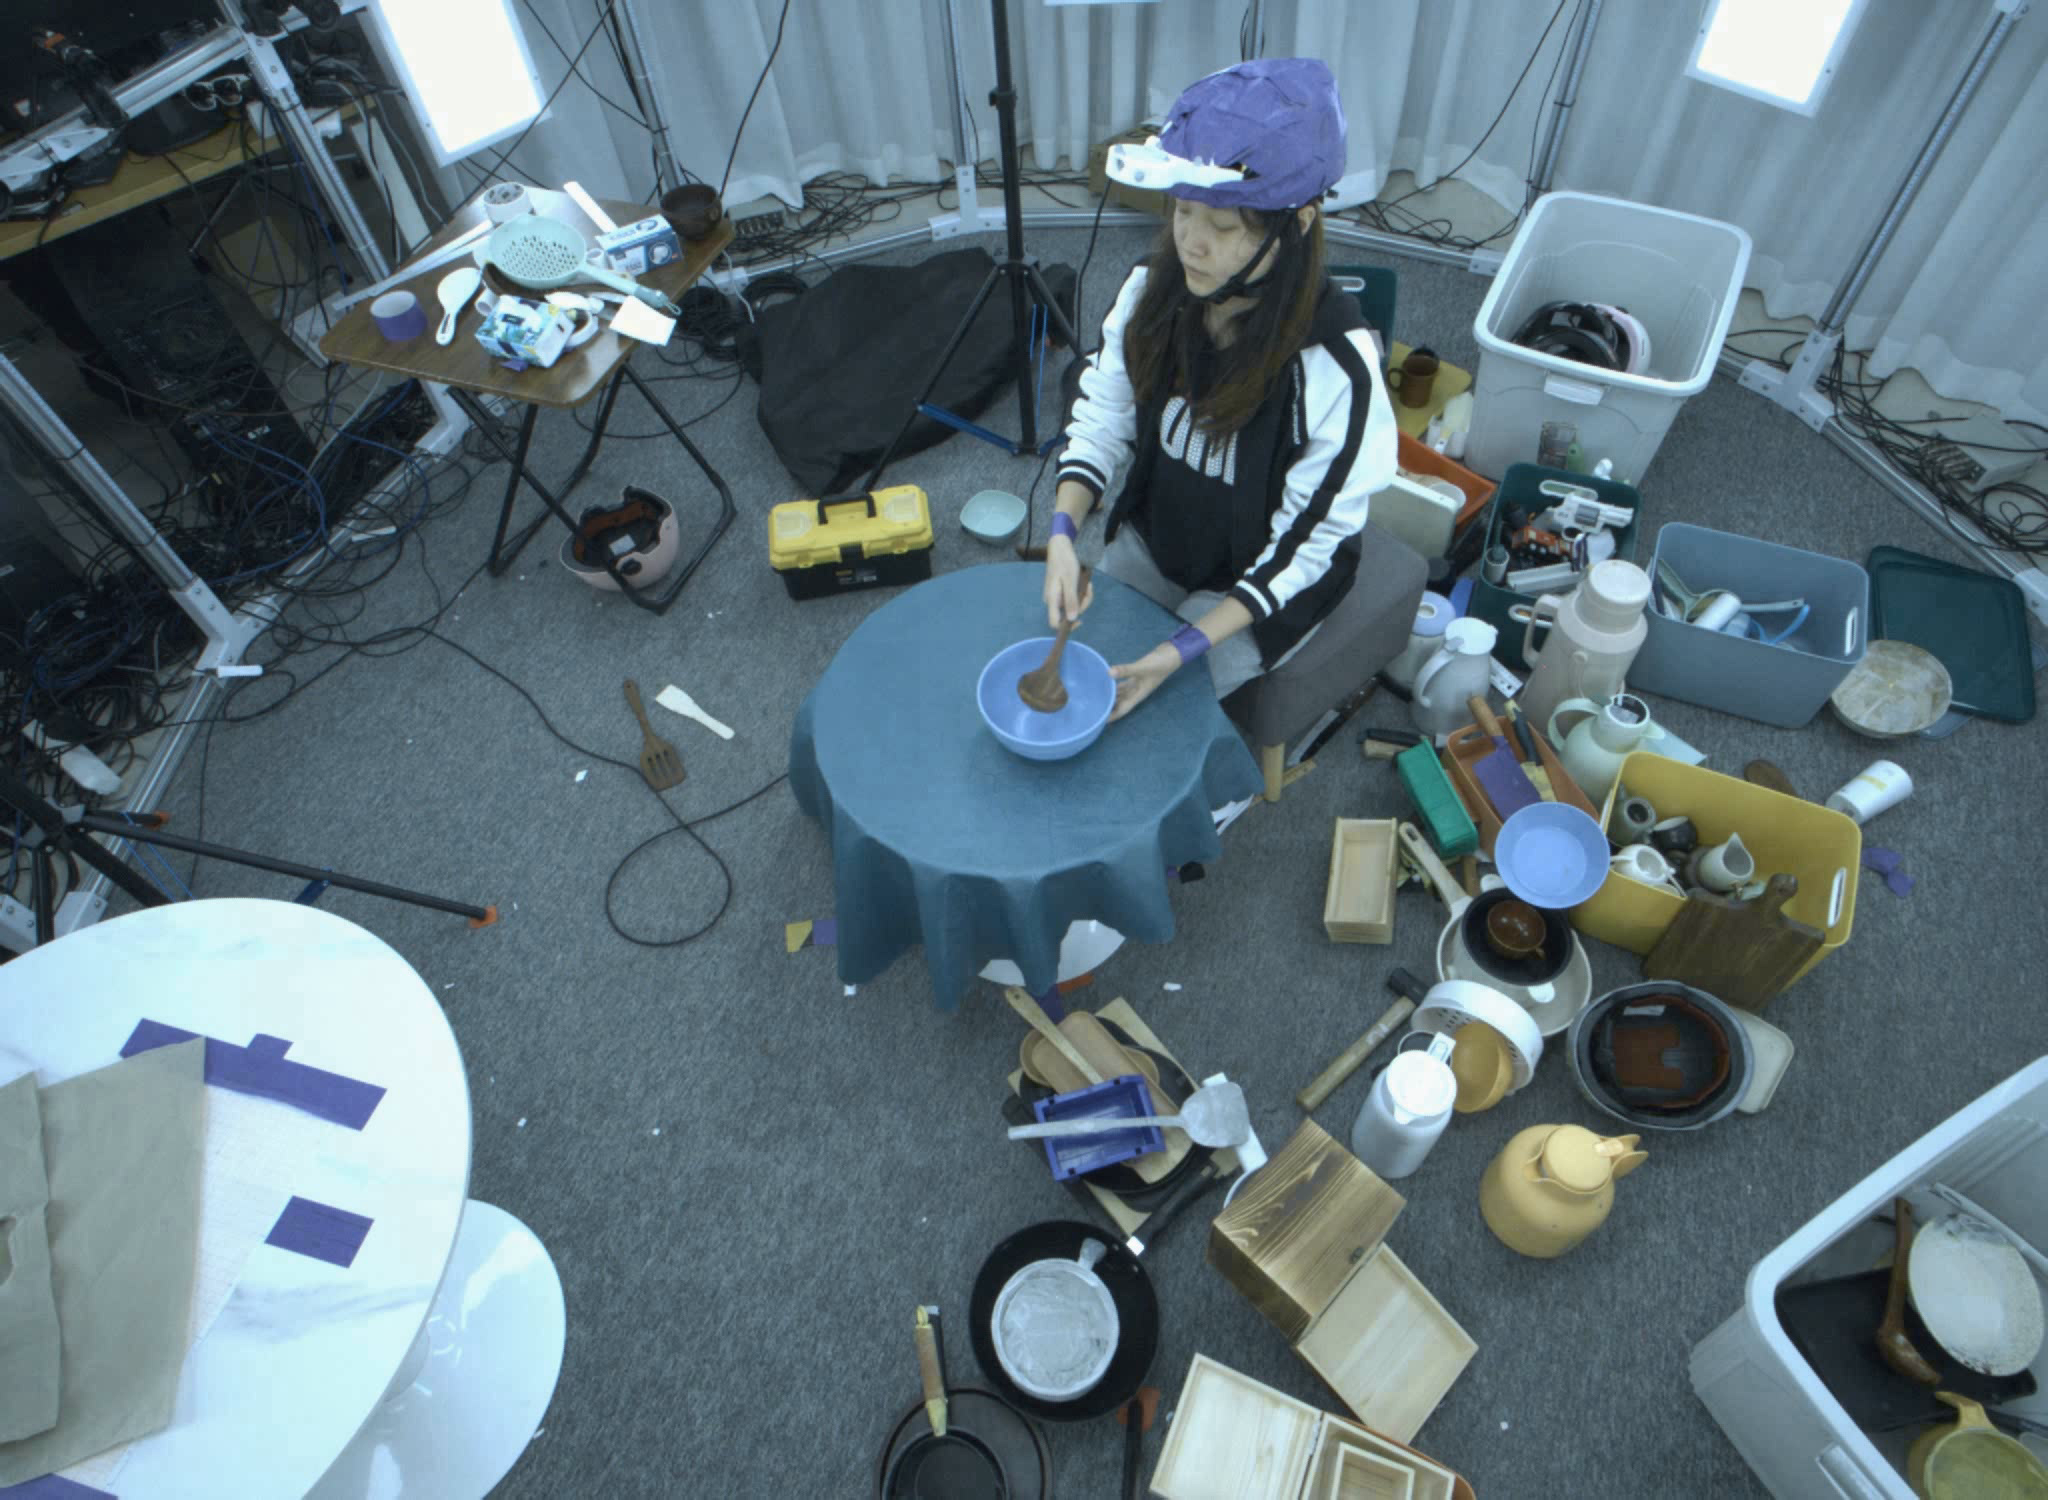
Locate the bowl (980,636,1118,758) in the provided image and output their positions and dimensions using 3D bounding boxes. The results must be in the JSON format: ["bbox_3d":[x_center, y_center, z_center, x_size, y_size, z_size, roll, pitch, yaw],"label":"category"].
[{"bbox_3d":[0.042,-0.061,1.772,0.195,0.097,0.194,-4,53,7],"label":"bowl"}]

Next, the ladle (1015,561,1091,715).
[{"bbox_3d":[0.056,-0.167,1.760,0.077,0.064,0.260,26,72,-15],"label":"ladle"}]
